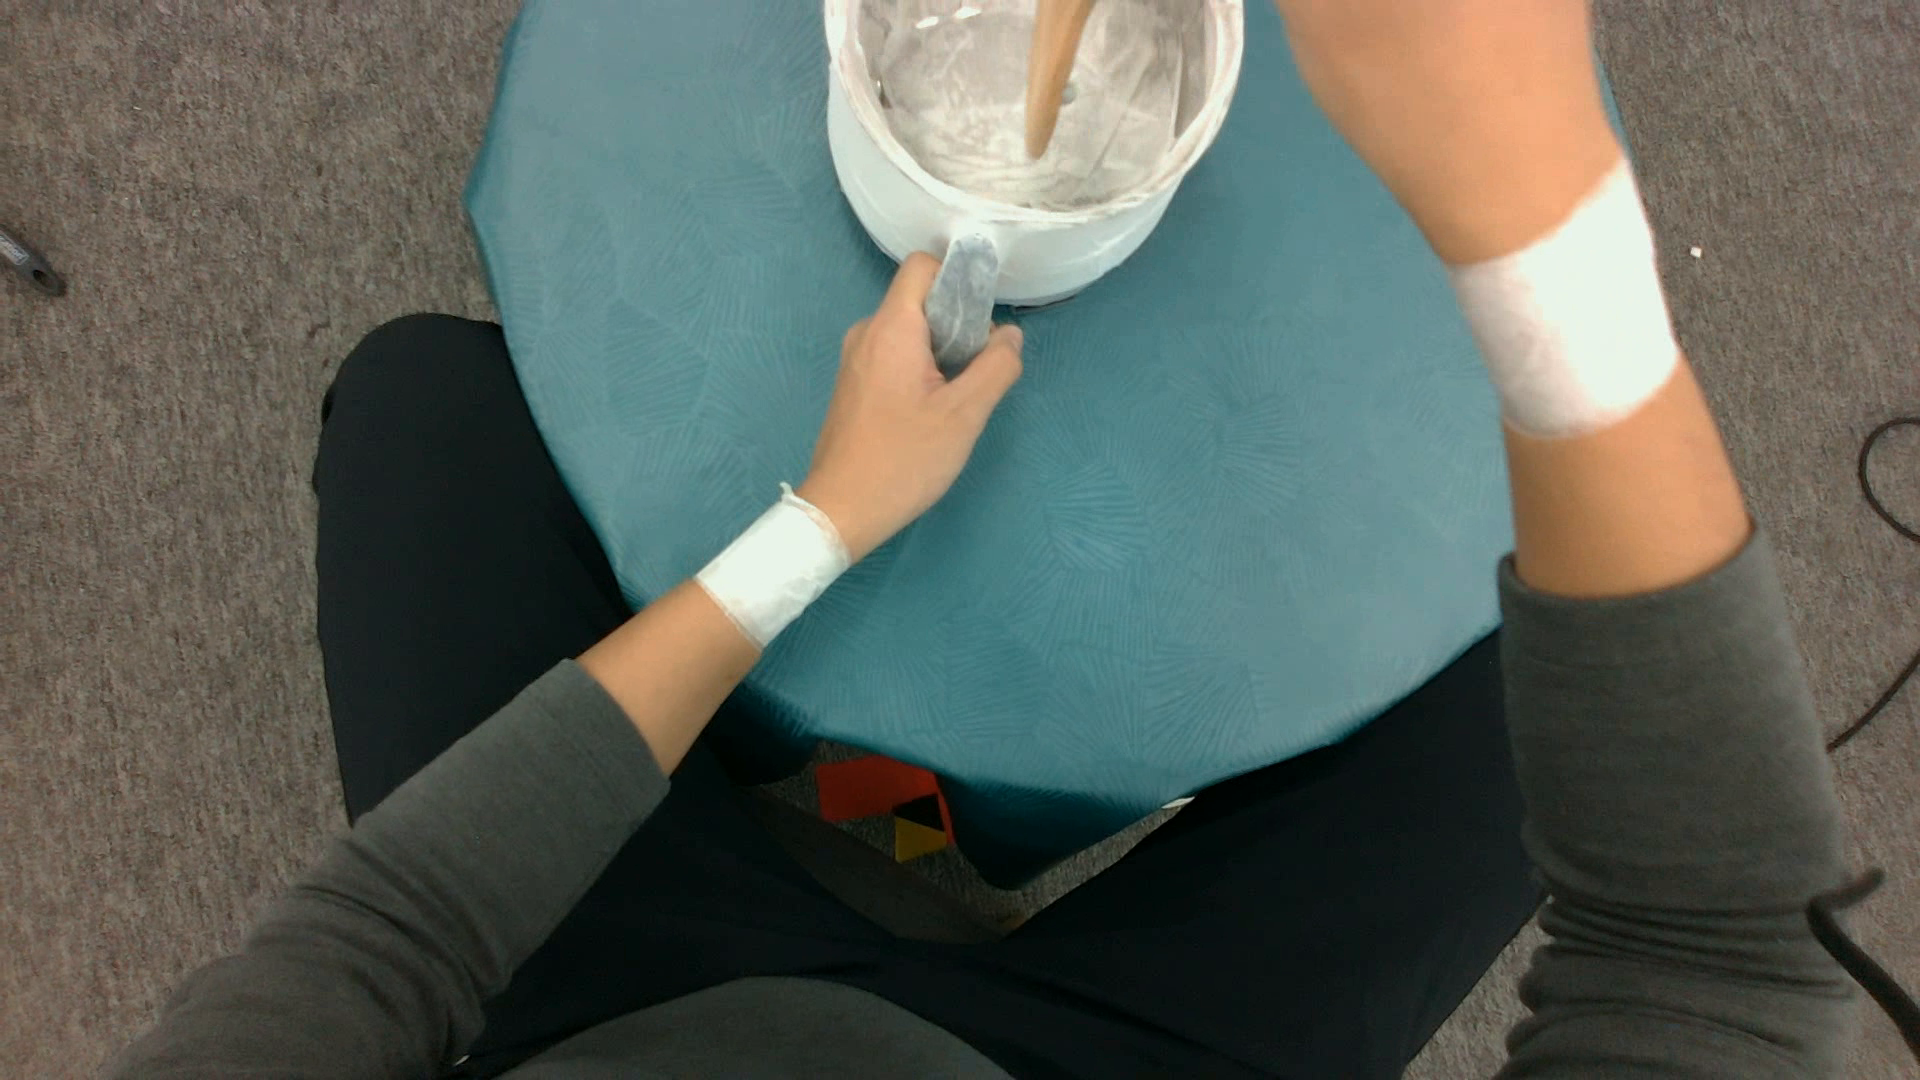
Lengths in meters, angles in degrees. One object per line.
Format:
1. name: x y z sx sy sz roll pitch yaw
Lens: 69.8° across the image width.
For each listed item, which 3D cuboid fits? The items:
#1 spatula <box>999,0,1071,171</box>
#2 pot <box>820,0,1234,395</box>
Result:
1. spatula: 0.052 -0.192 0.424 0.018 0.390 0.095 2 95 -11
2. pot: 0.016 -0.186 0.643 0.179 0.136 0.234 15 82 -5
